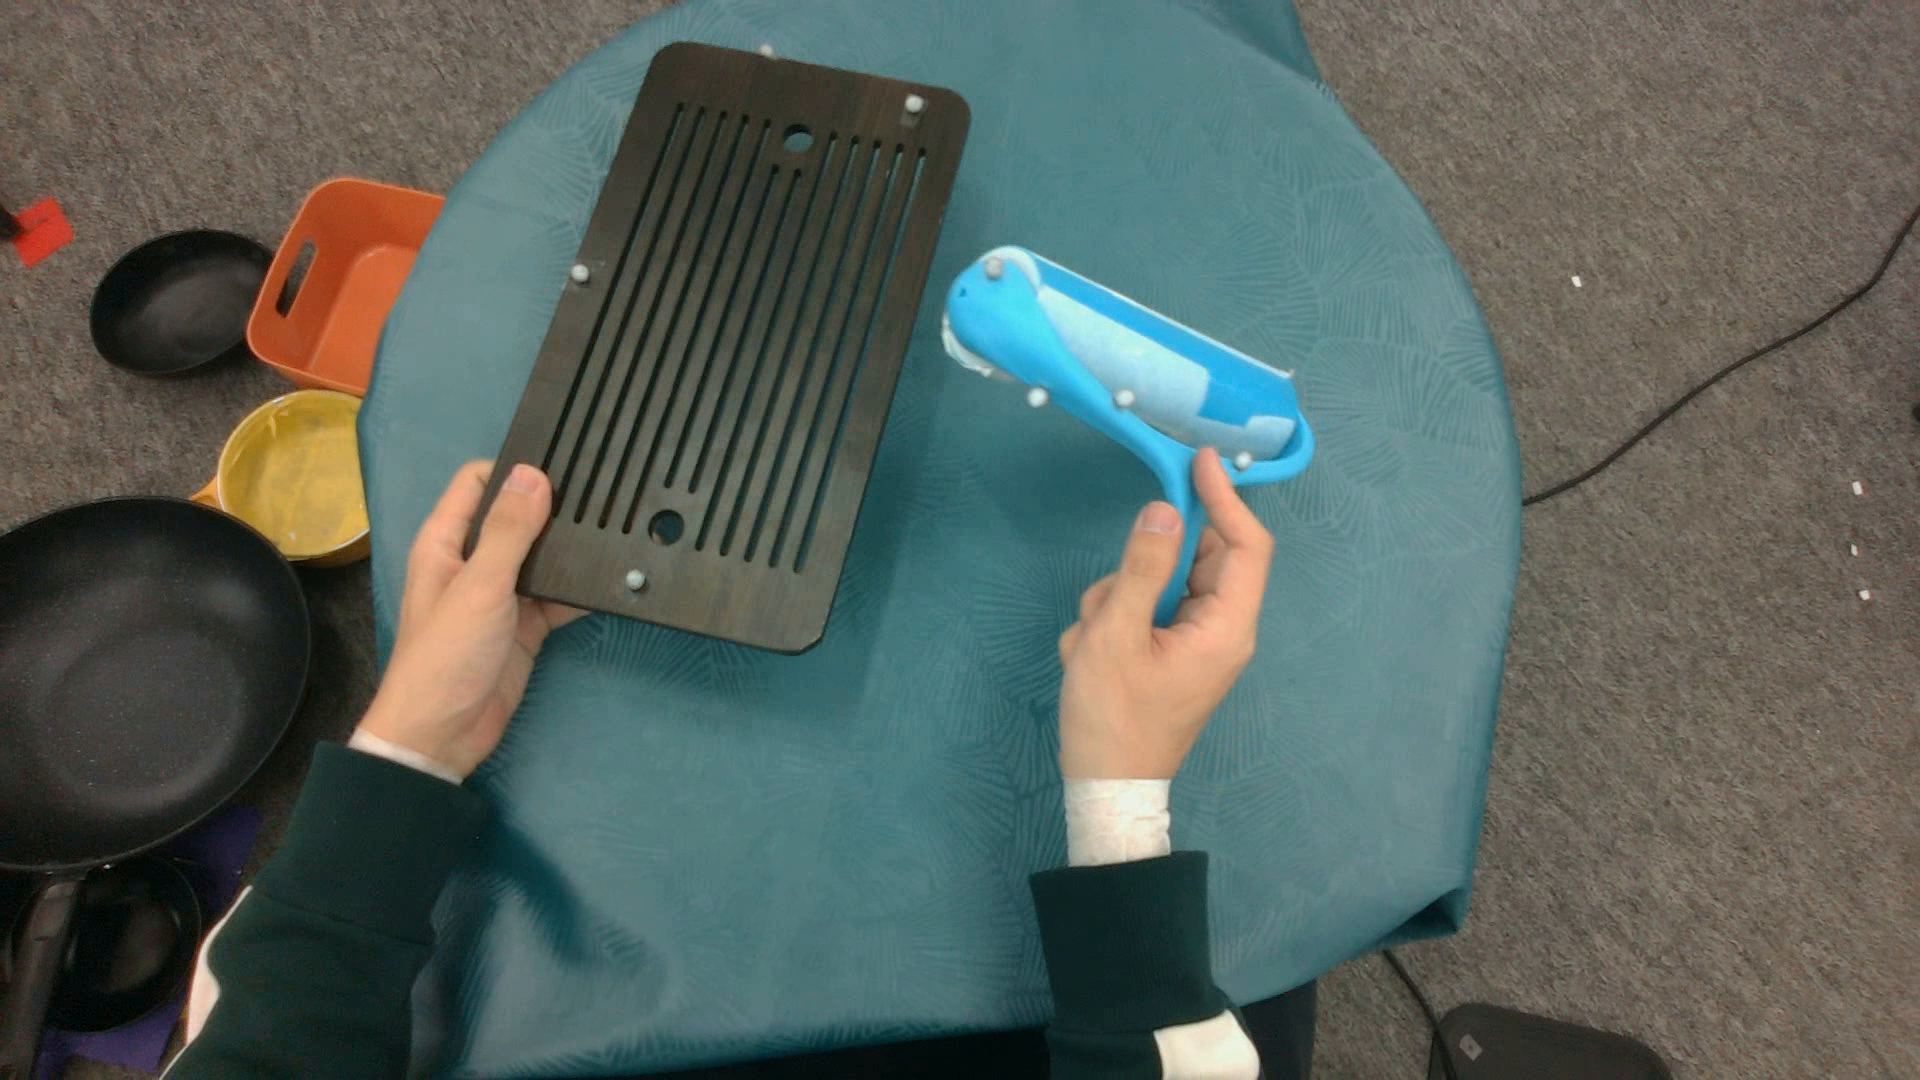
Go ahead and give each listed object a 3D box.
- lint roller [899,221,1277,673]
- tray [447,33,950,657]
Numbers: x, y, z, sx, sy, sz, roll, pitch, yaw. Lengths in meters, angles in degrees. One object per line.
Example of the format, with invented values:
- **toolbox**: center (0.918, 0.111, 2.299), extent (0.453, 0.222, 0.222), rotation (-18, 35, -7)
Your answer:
- **lint roller**: center (0.068, -0.034, 0.611), extent (0.229, 0.067, 0.180), rotation (7, 73, -46)
- **tray**: center (-0.117, -0.103, 0.654), extent (0.170, 0.018, 0.307), rotation (11, 72, 8)
